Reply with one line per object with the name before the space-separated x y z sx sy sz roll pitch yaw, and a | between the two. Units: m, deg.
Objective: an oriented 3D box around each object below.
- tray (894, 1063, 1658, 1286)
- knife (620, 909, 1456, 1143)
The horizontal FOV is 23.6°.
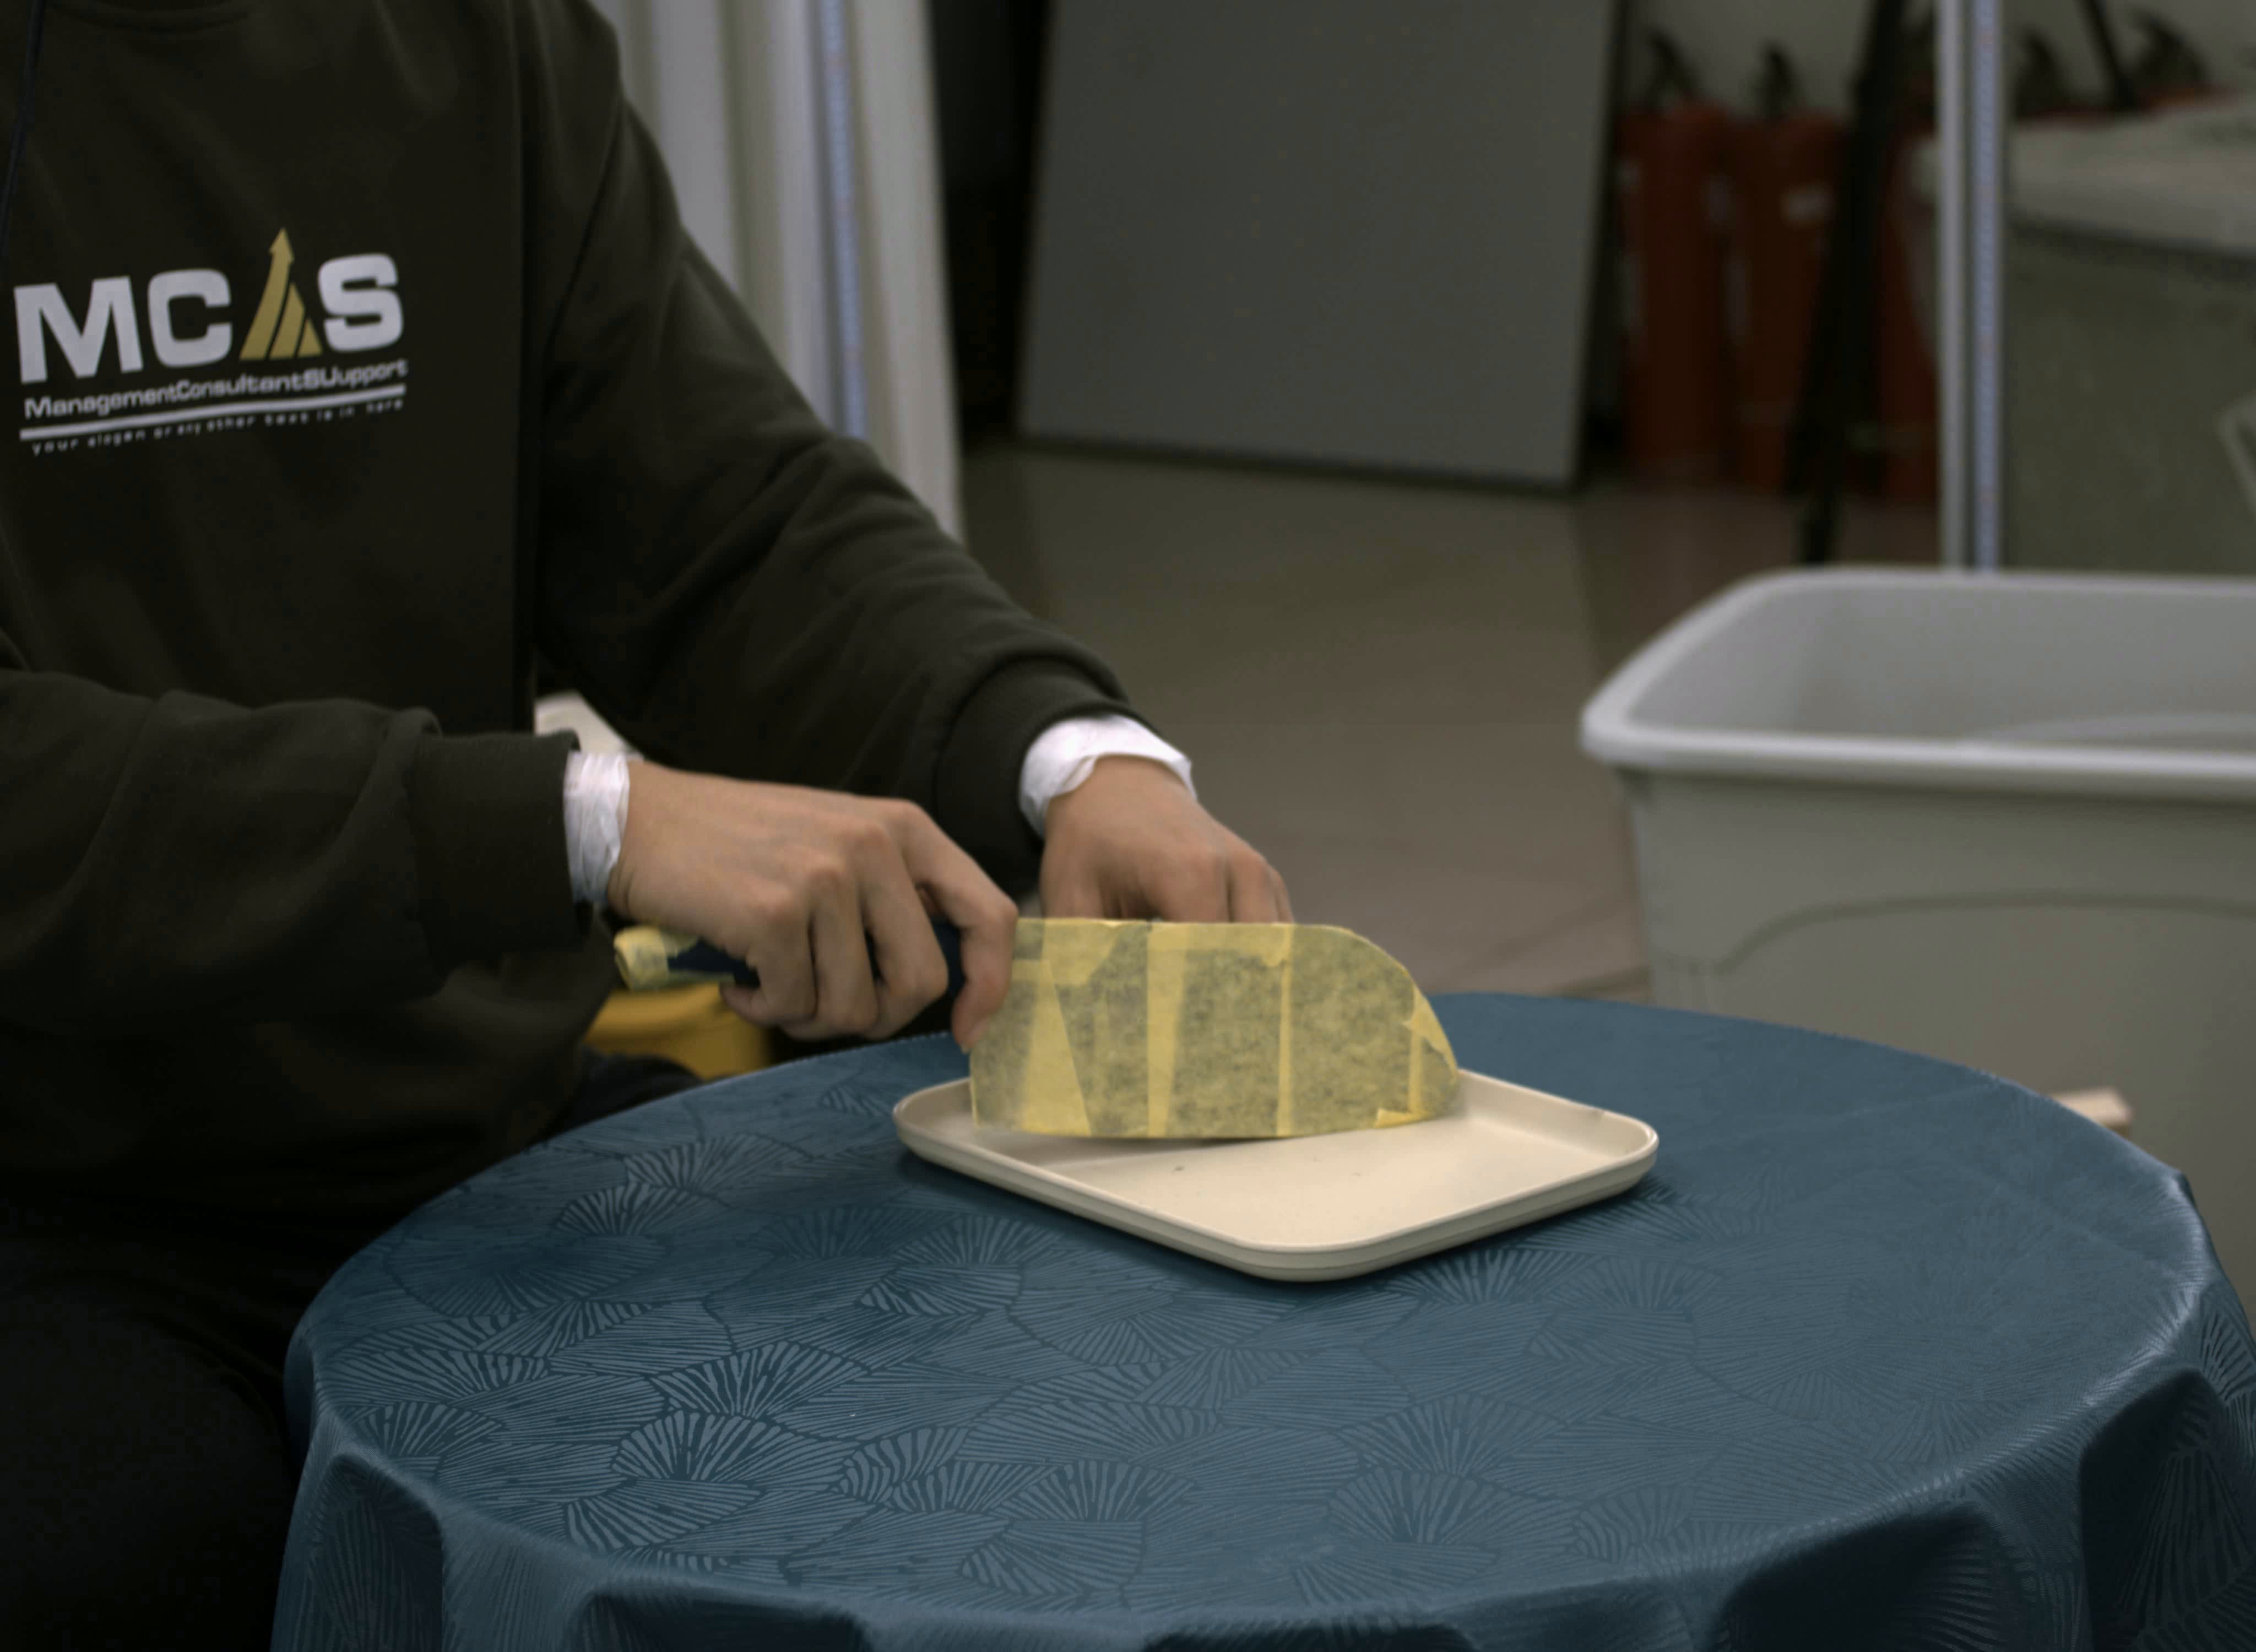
tray | 0.047 0.107 1.783 0.167 0.017 0.242 -14 17 -35
knife | -0.028 0.064 1.797 0.284 0.082 0.027 5 -5 -9
